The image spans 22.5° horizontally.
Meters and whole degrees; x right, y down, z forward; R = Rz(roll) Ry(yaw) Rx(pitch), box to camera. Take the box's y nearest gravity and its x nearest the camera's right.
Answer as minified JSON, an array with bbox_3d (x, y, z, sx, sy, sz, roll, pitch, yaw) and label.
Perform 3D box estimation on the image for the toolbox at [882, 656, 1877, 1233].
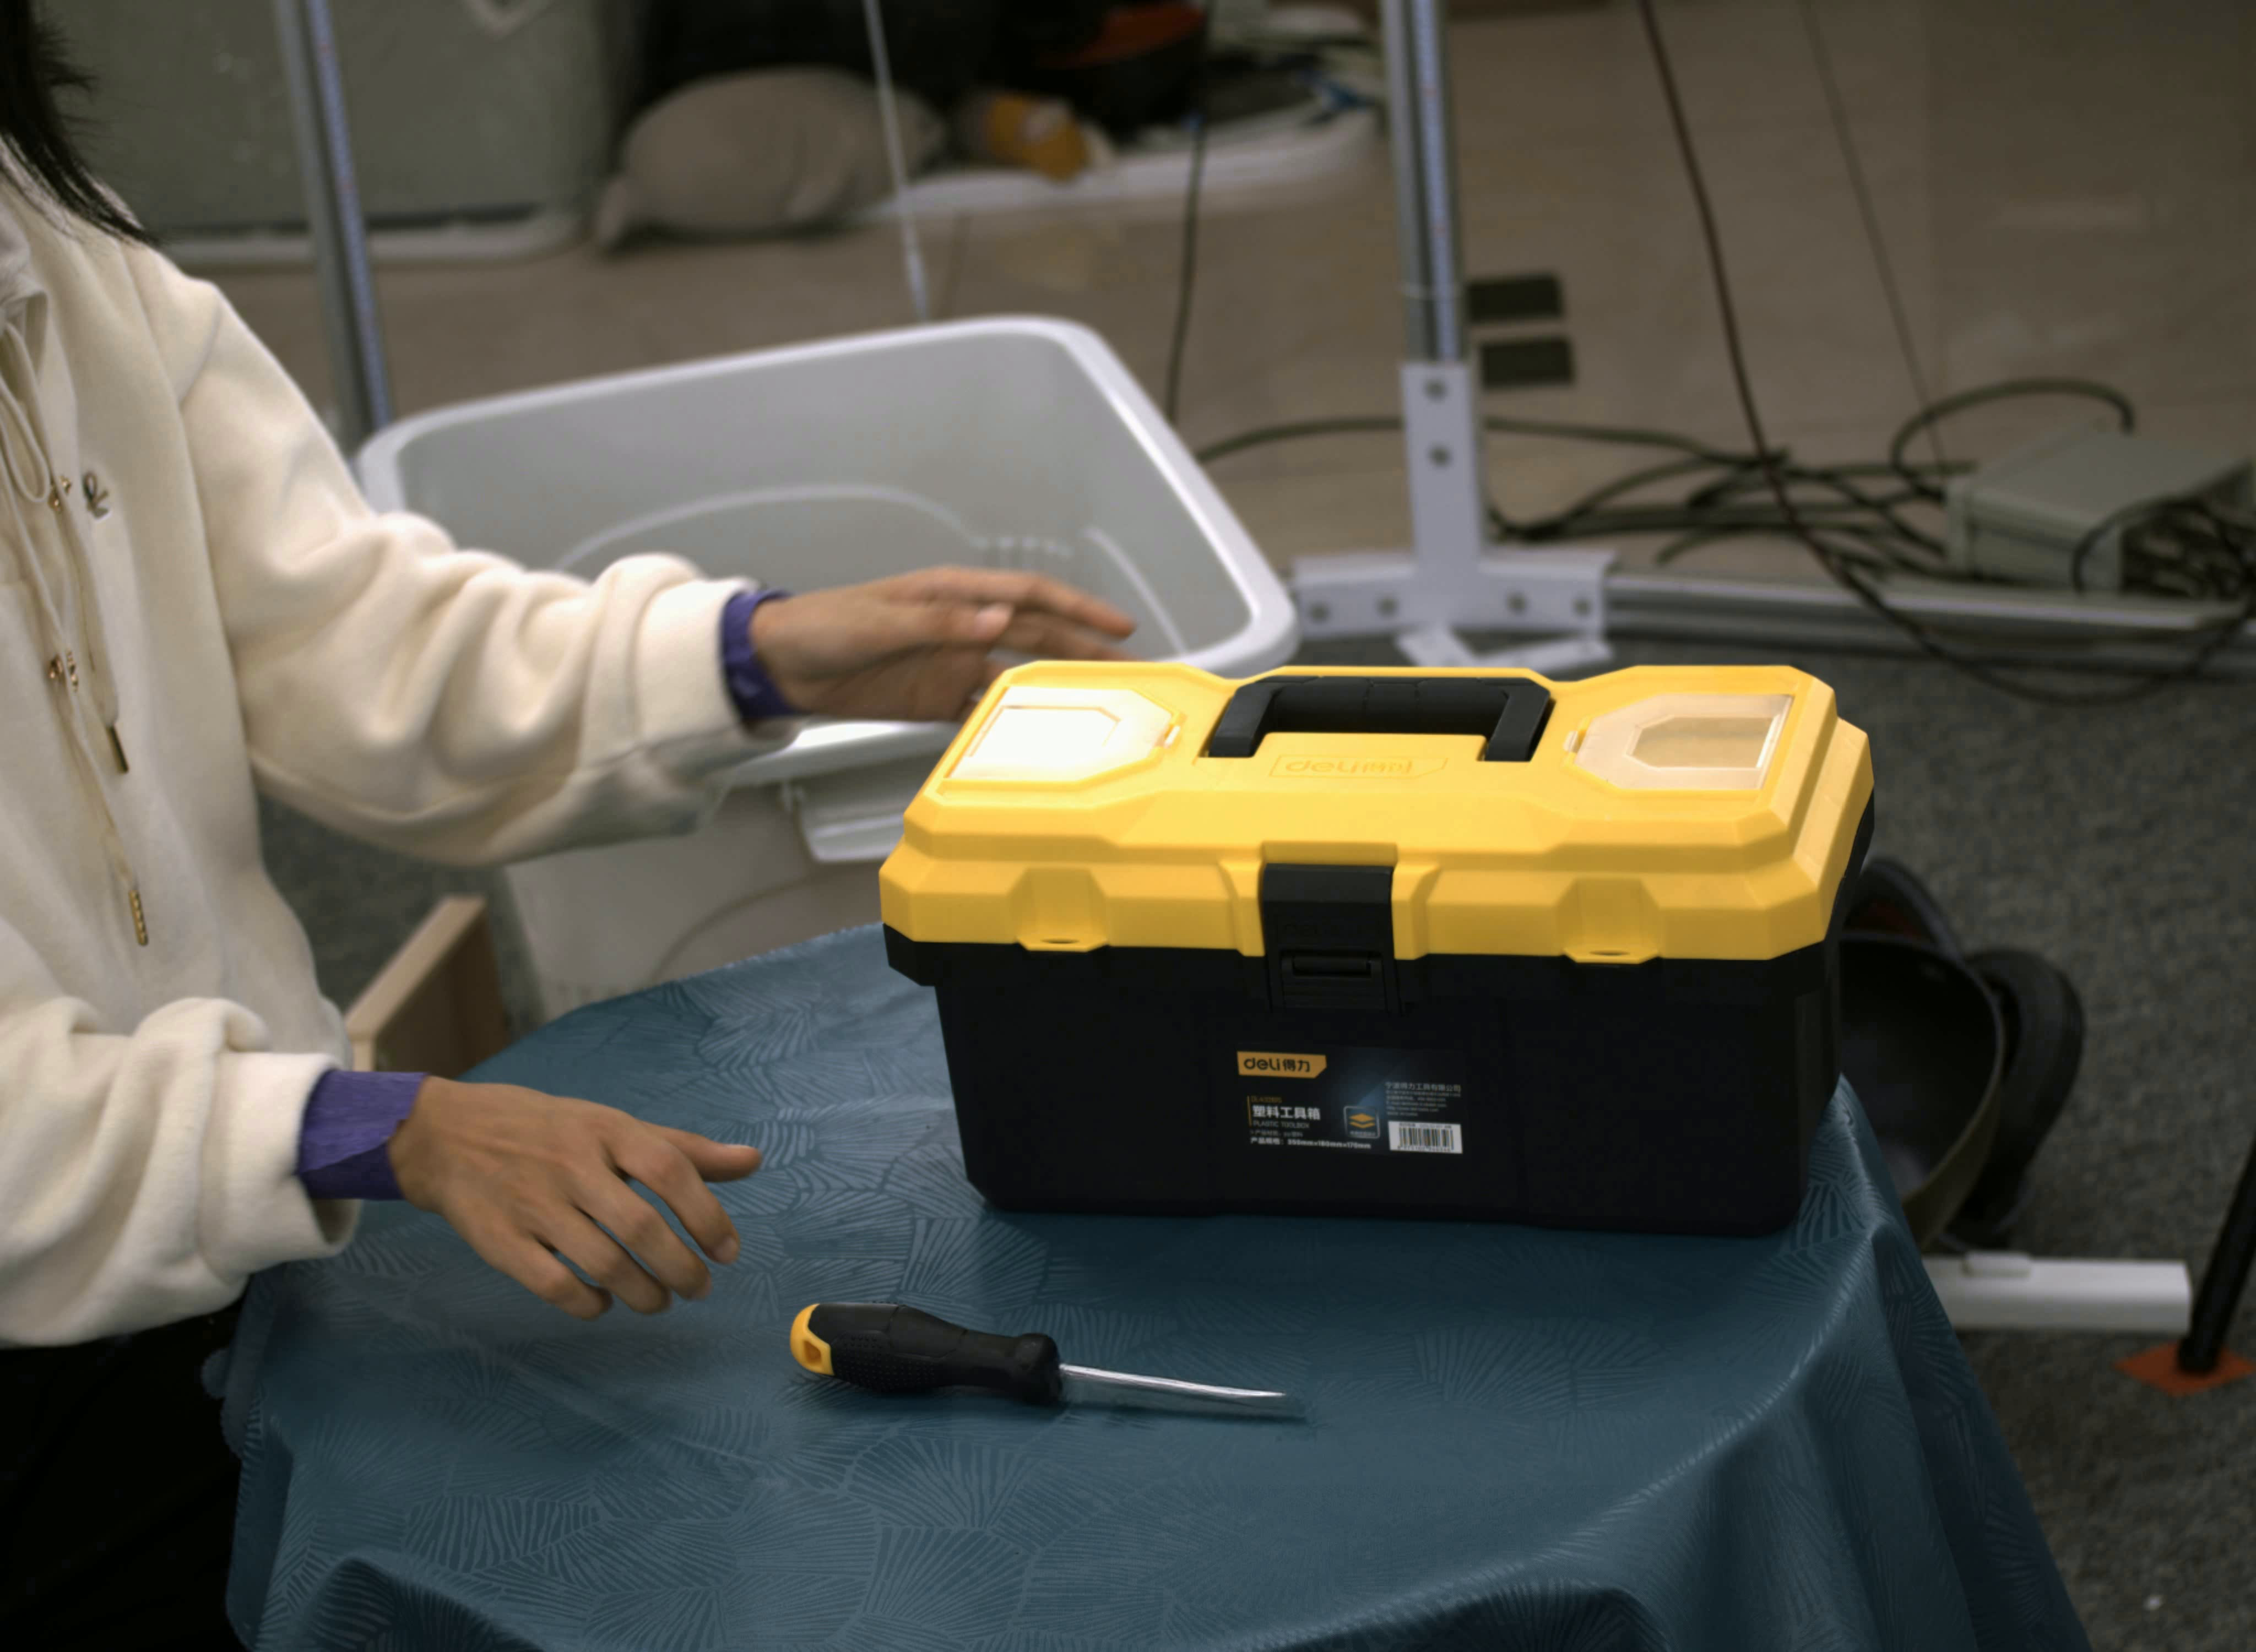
[{"bbox_3d":[0.097,0.044,2.120,0.351,0.175,0.179,1,27,16],"label":"toolbox"}]

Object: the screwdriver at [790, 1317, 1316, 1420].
[{"bbox_3d":[-0.027,0.199,2.014,0.197,0.032,0.031,8,28,18],"label":"screwdriver"}]
